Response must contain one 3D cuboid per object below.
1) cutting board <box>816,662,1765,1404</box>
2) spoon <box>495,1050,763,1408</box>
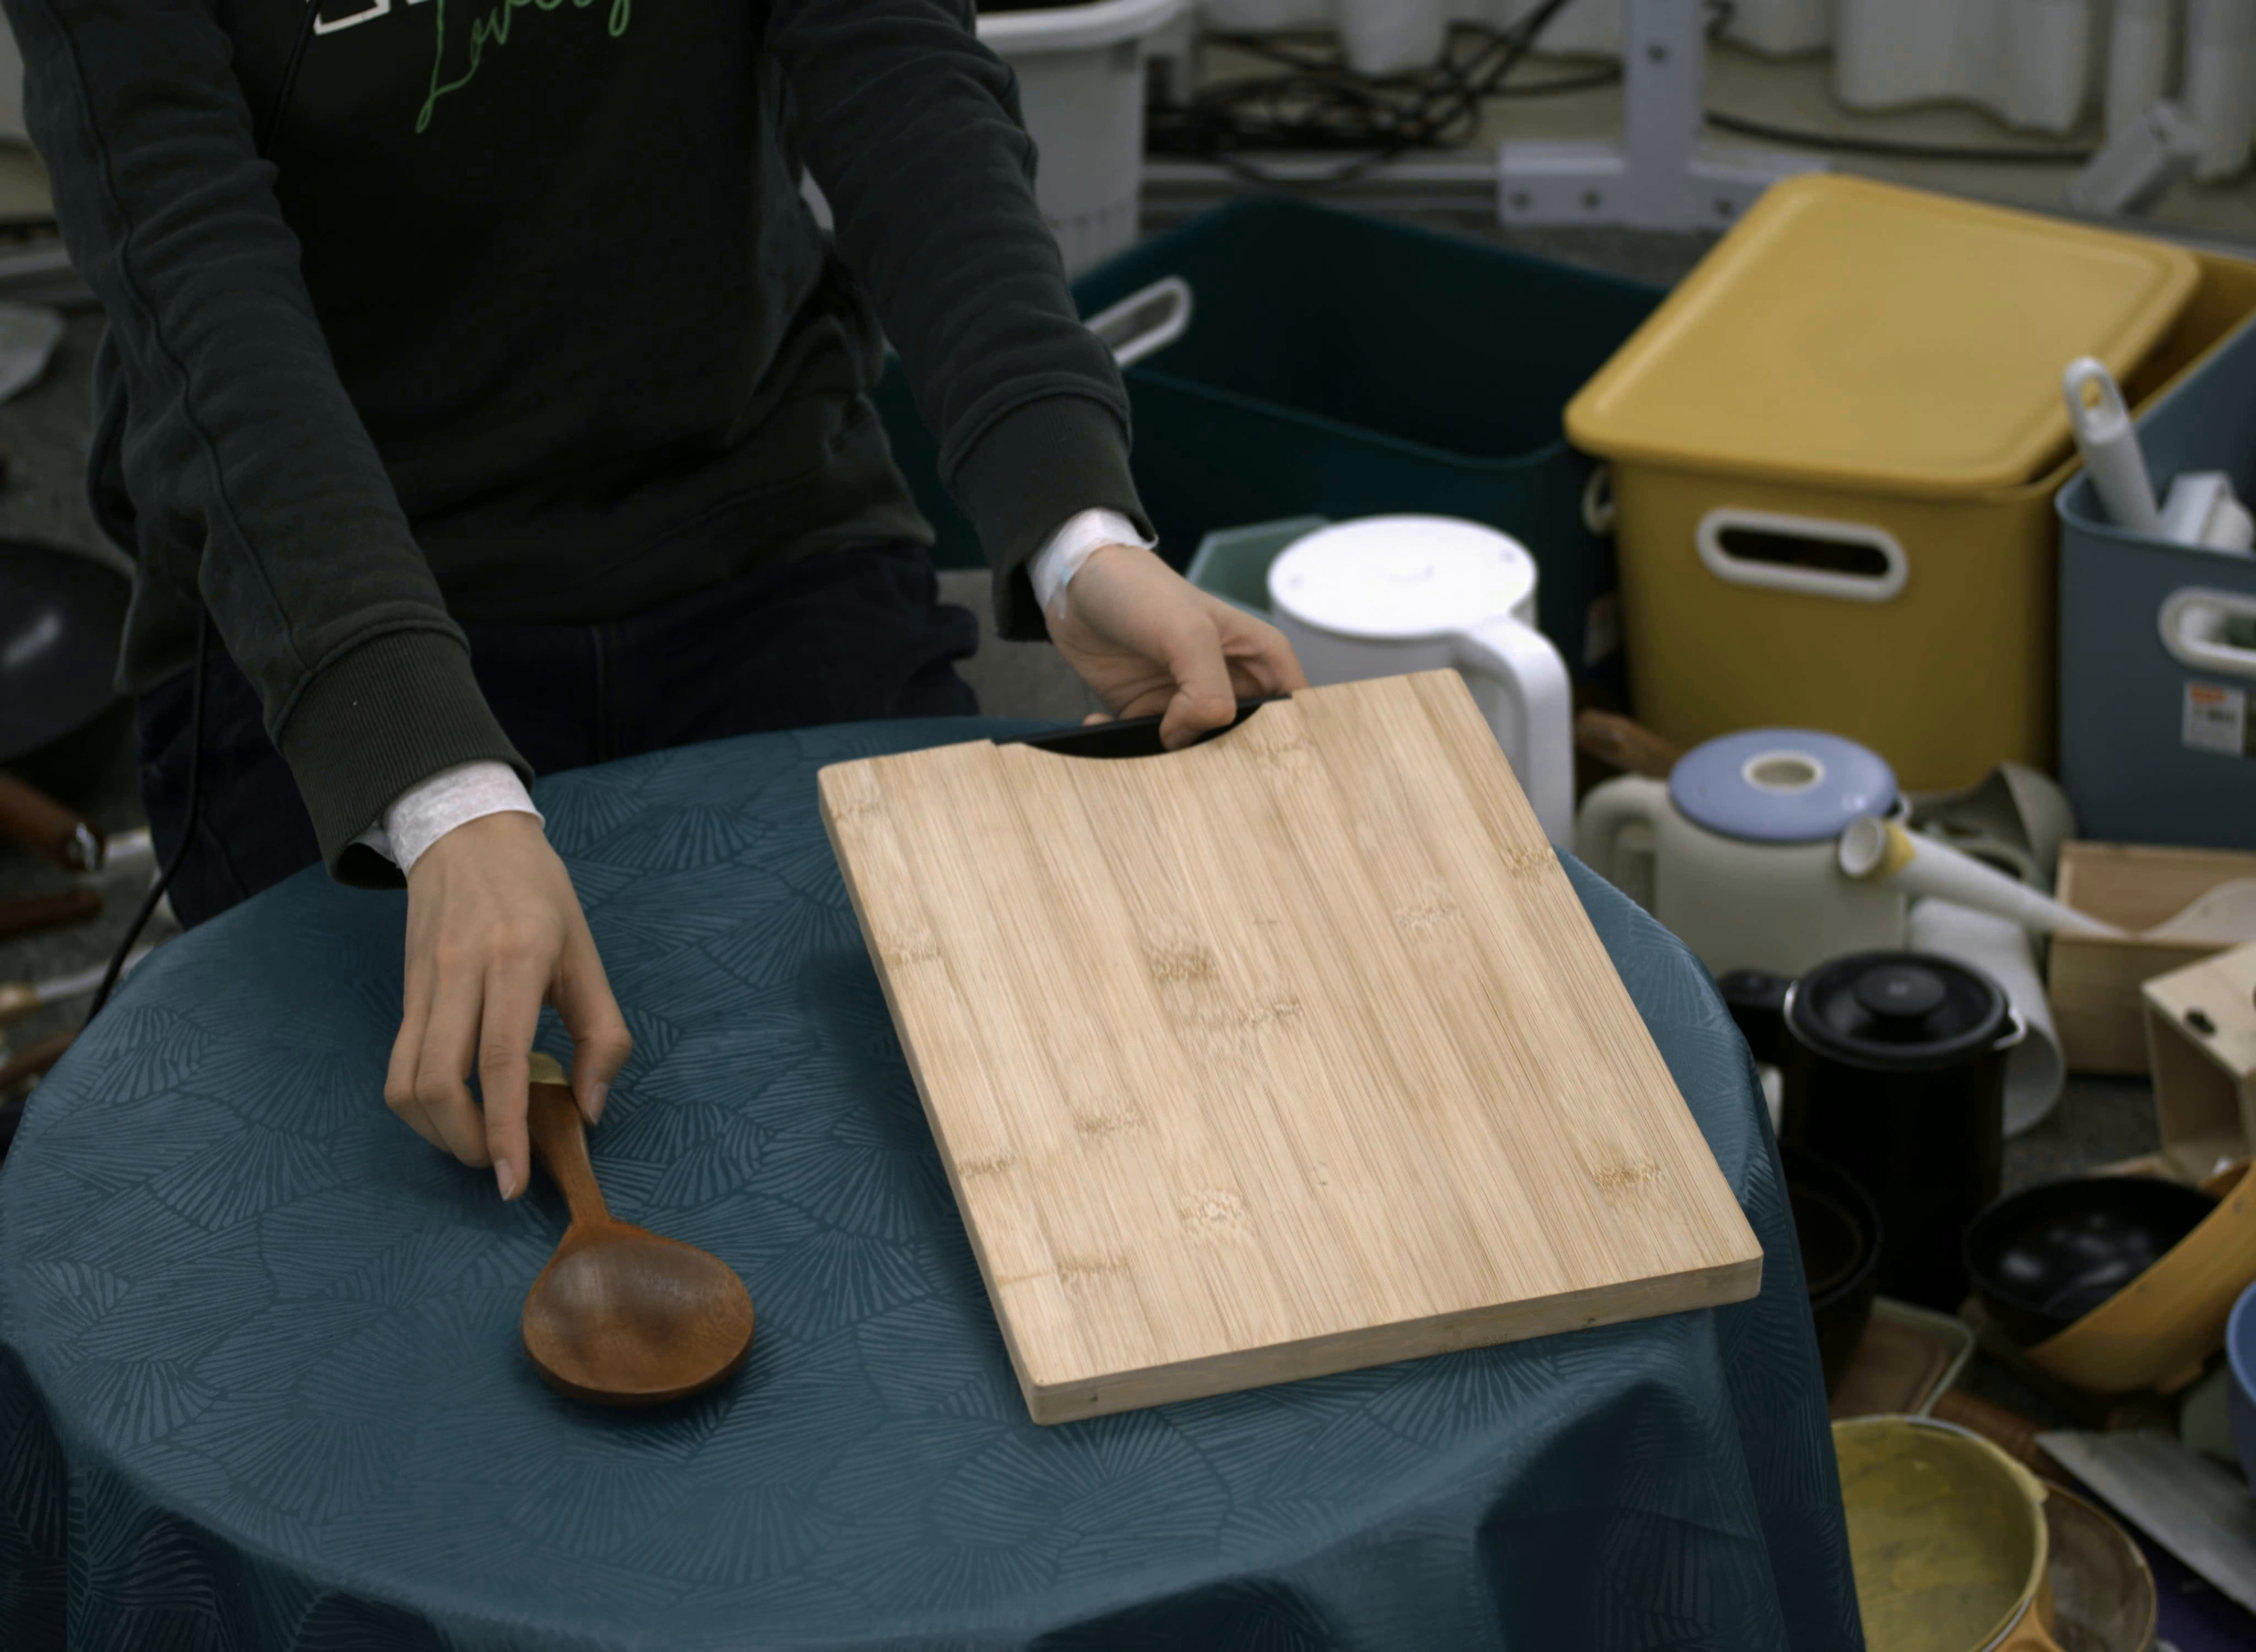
[{"bbox_3d":[0.045,0.063,1.899,0.251,0.023,0.353,-9,36,-12],"label":"cutting board"},{"bbox_3d":[-0.173,0.132,1.835,0.075,0.017,0.218,-12,31,-14],"label":"spoon"}]
